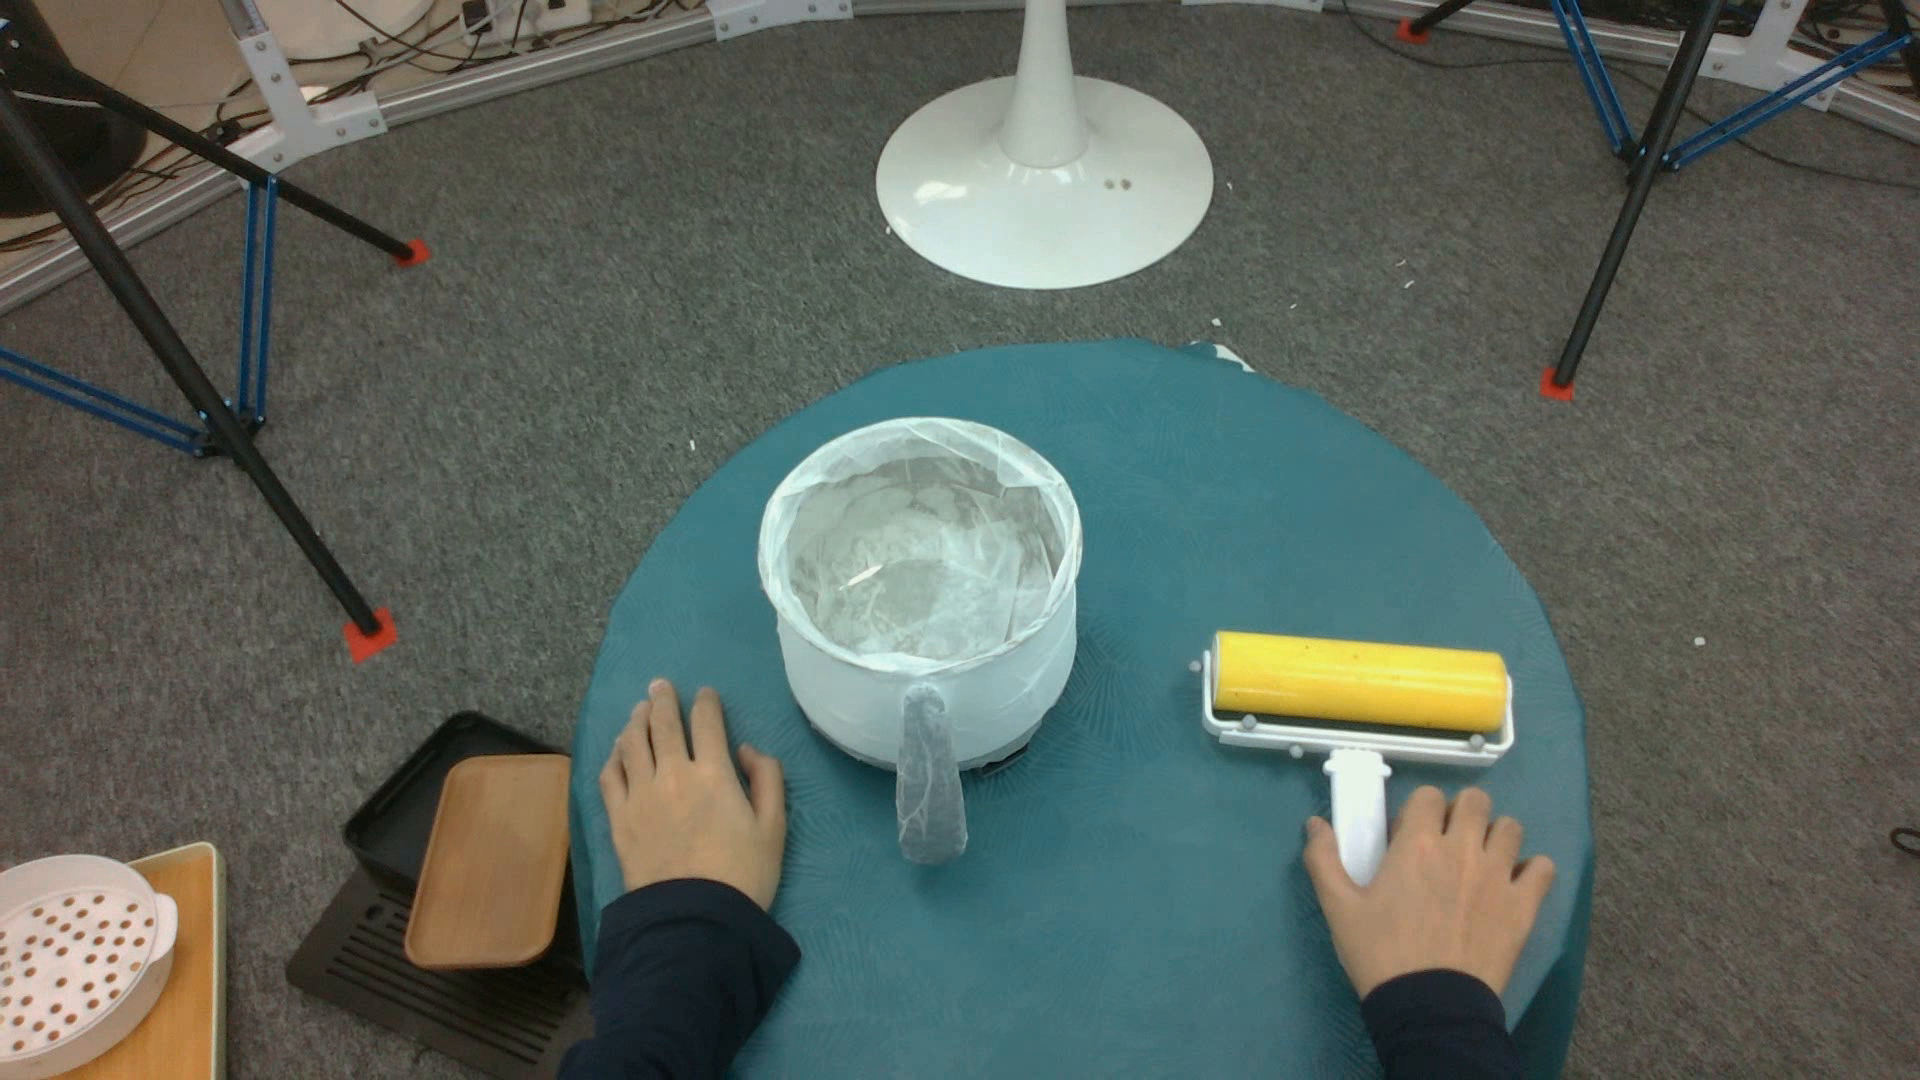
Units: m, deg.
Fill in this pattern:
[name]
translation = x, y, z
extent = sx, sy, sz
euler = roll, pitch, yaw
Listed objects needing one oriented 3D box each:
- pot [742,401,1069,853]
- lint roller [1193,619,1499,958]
[pot]
translation = -0.025, 0.050, 0.776
extent = 0.179, 0.136, 0.234
euler = -5, 52, 0
[lint roller]
translation = 0.219, 0.131, 0.767
extent = 0.174, 0.051, 0.193
euler = 2, 52, 4
